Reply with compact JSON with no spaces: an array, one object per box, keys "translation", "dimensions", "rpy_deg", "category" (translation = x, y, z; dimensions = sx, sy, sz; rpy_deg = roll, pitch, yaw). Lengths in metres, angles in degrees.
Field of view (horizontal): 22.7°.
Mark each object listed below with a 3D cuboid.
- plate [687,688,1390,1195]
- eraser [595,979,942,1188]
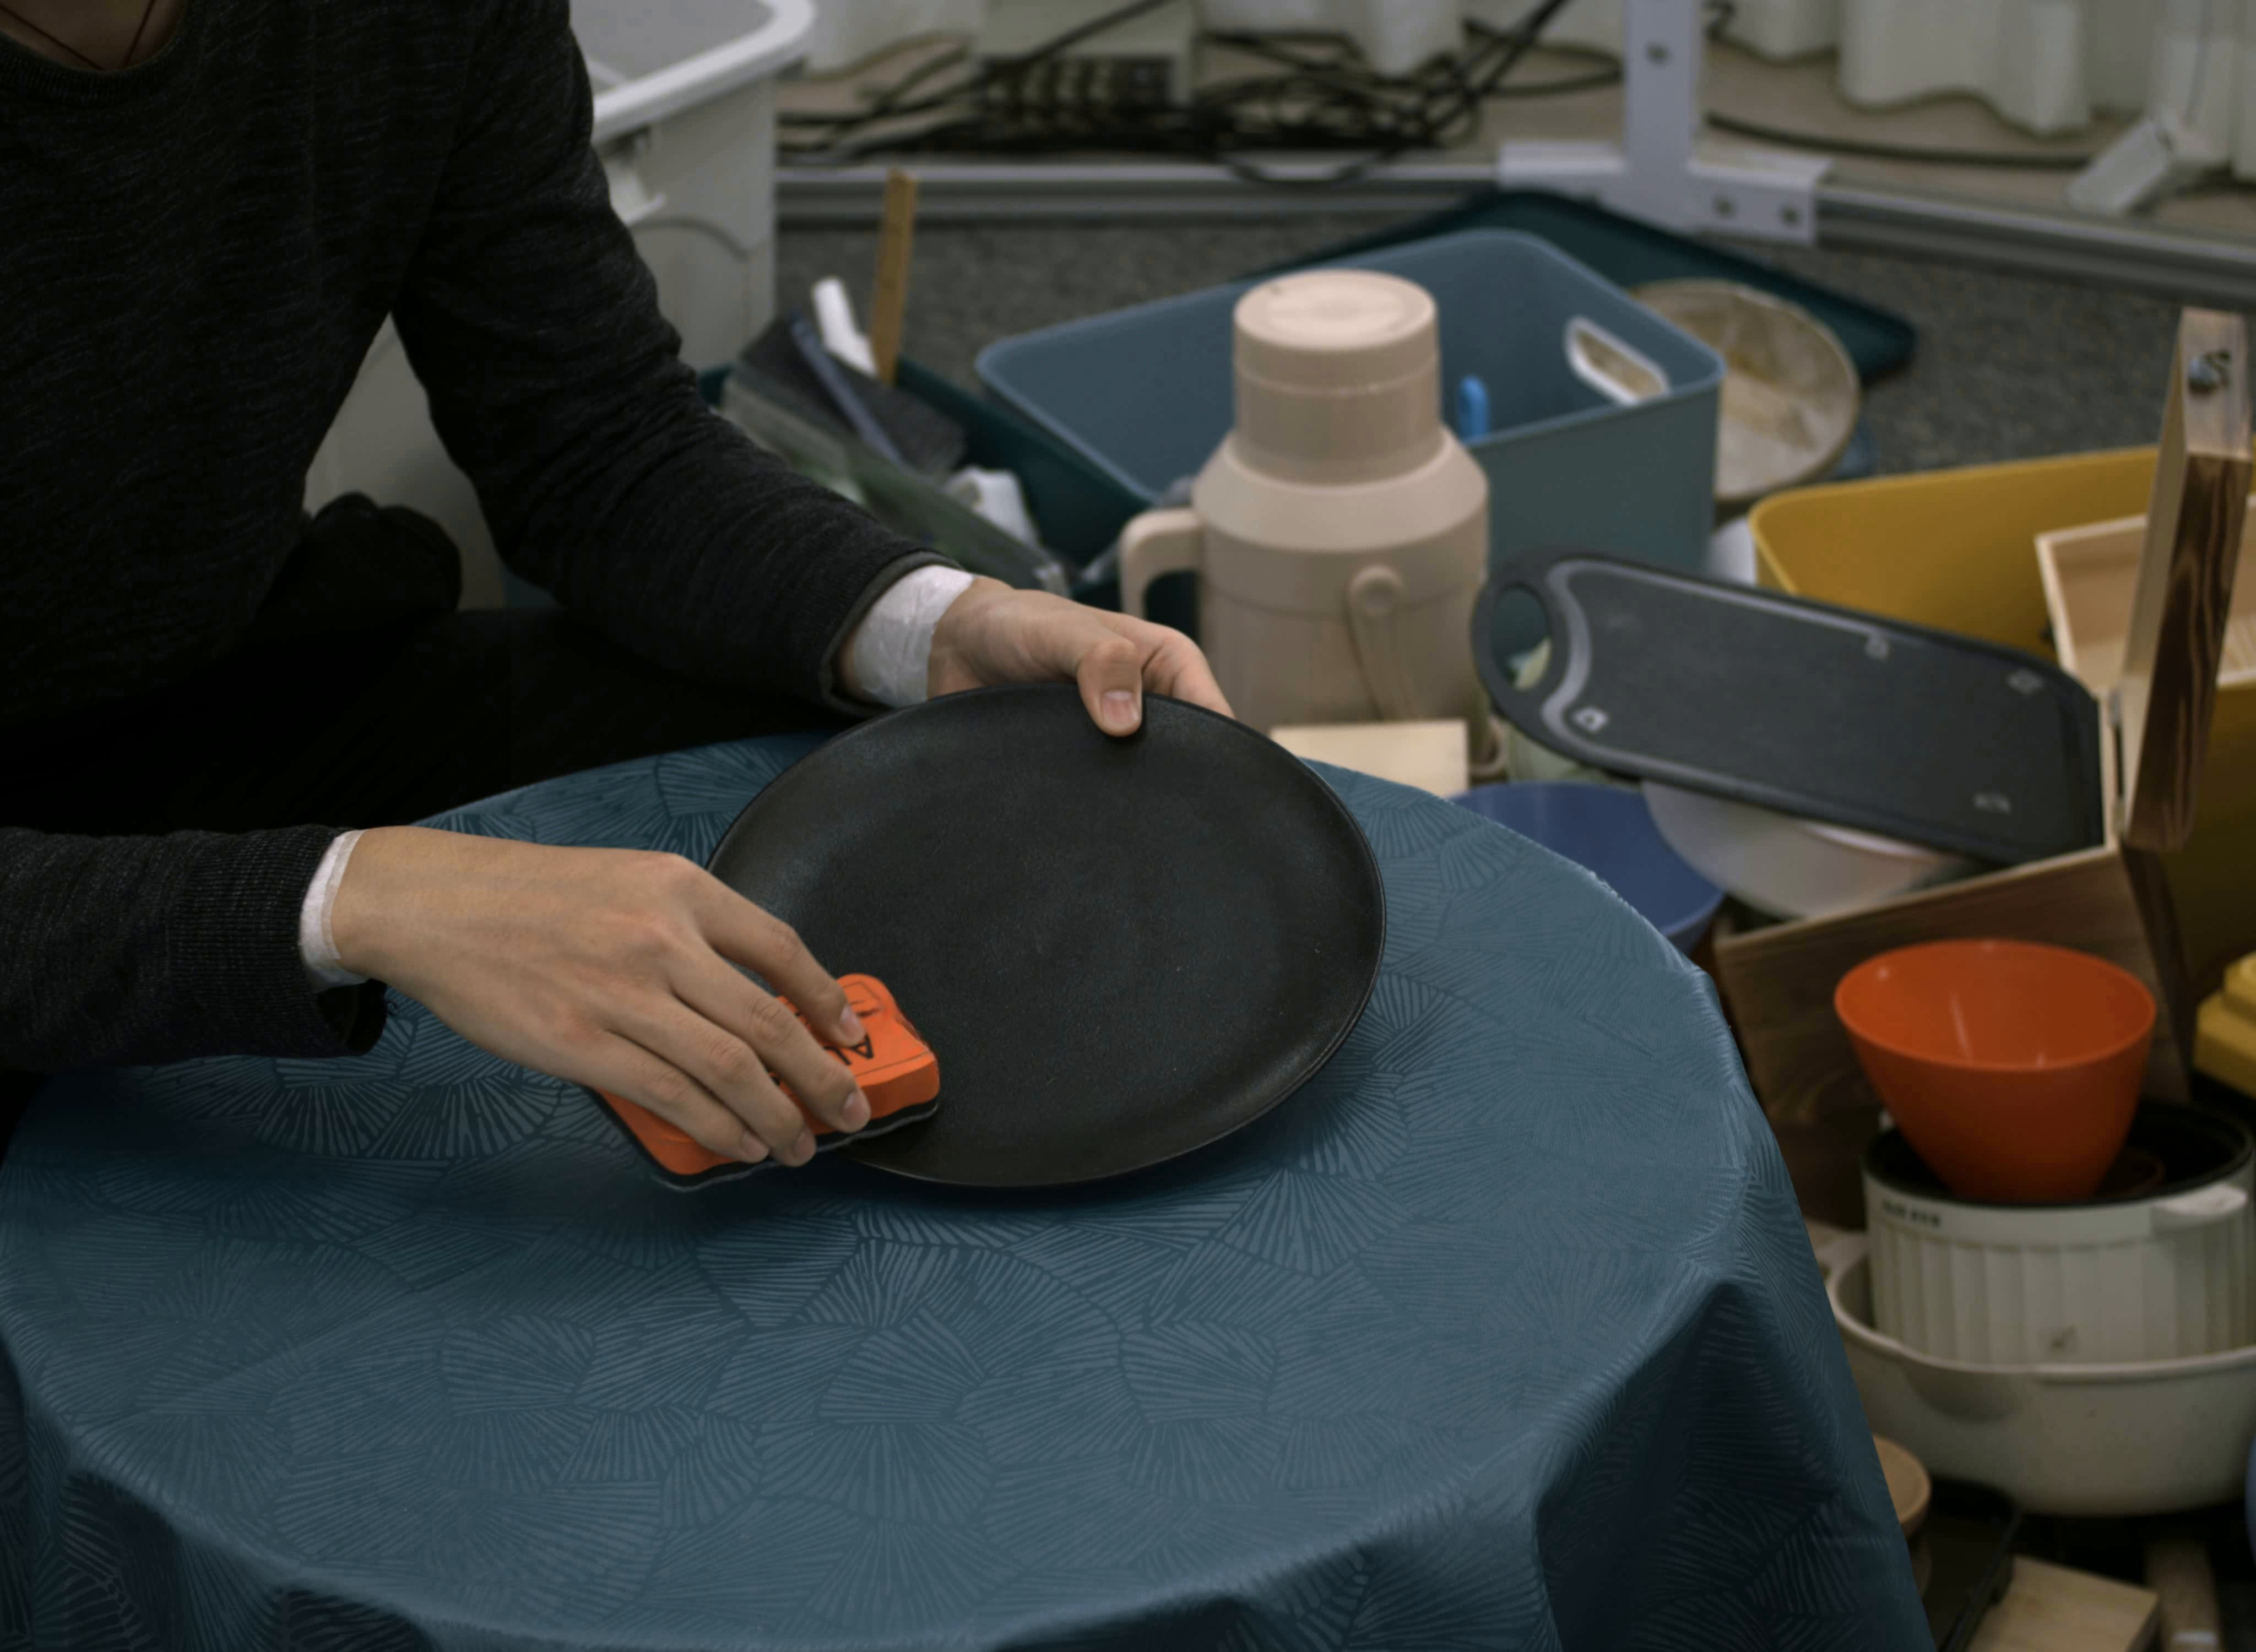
[{"translation":[-0.030,0.041,1.942],"dimensions":[0.243,0.023,0.249],"rpy_deg":[-2,43,2],"category":"plate"},{"translation":[-0.119,0.085,1.869],"dimensions":[0.109,0.022,0.059],"rpy_deg":[-14,39,-30],"category":"eraser"}]
